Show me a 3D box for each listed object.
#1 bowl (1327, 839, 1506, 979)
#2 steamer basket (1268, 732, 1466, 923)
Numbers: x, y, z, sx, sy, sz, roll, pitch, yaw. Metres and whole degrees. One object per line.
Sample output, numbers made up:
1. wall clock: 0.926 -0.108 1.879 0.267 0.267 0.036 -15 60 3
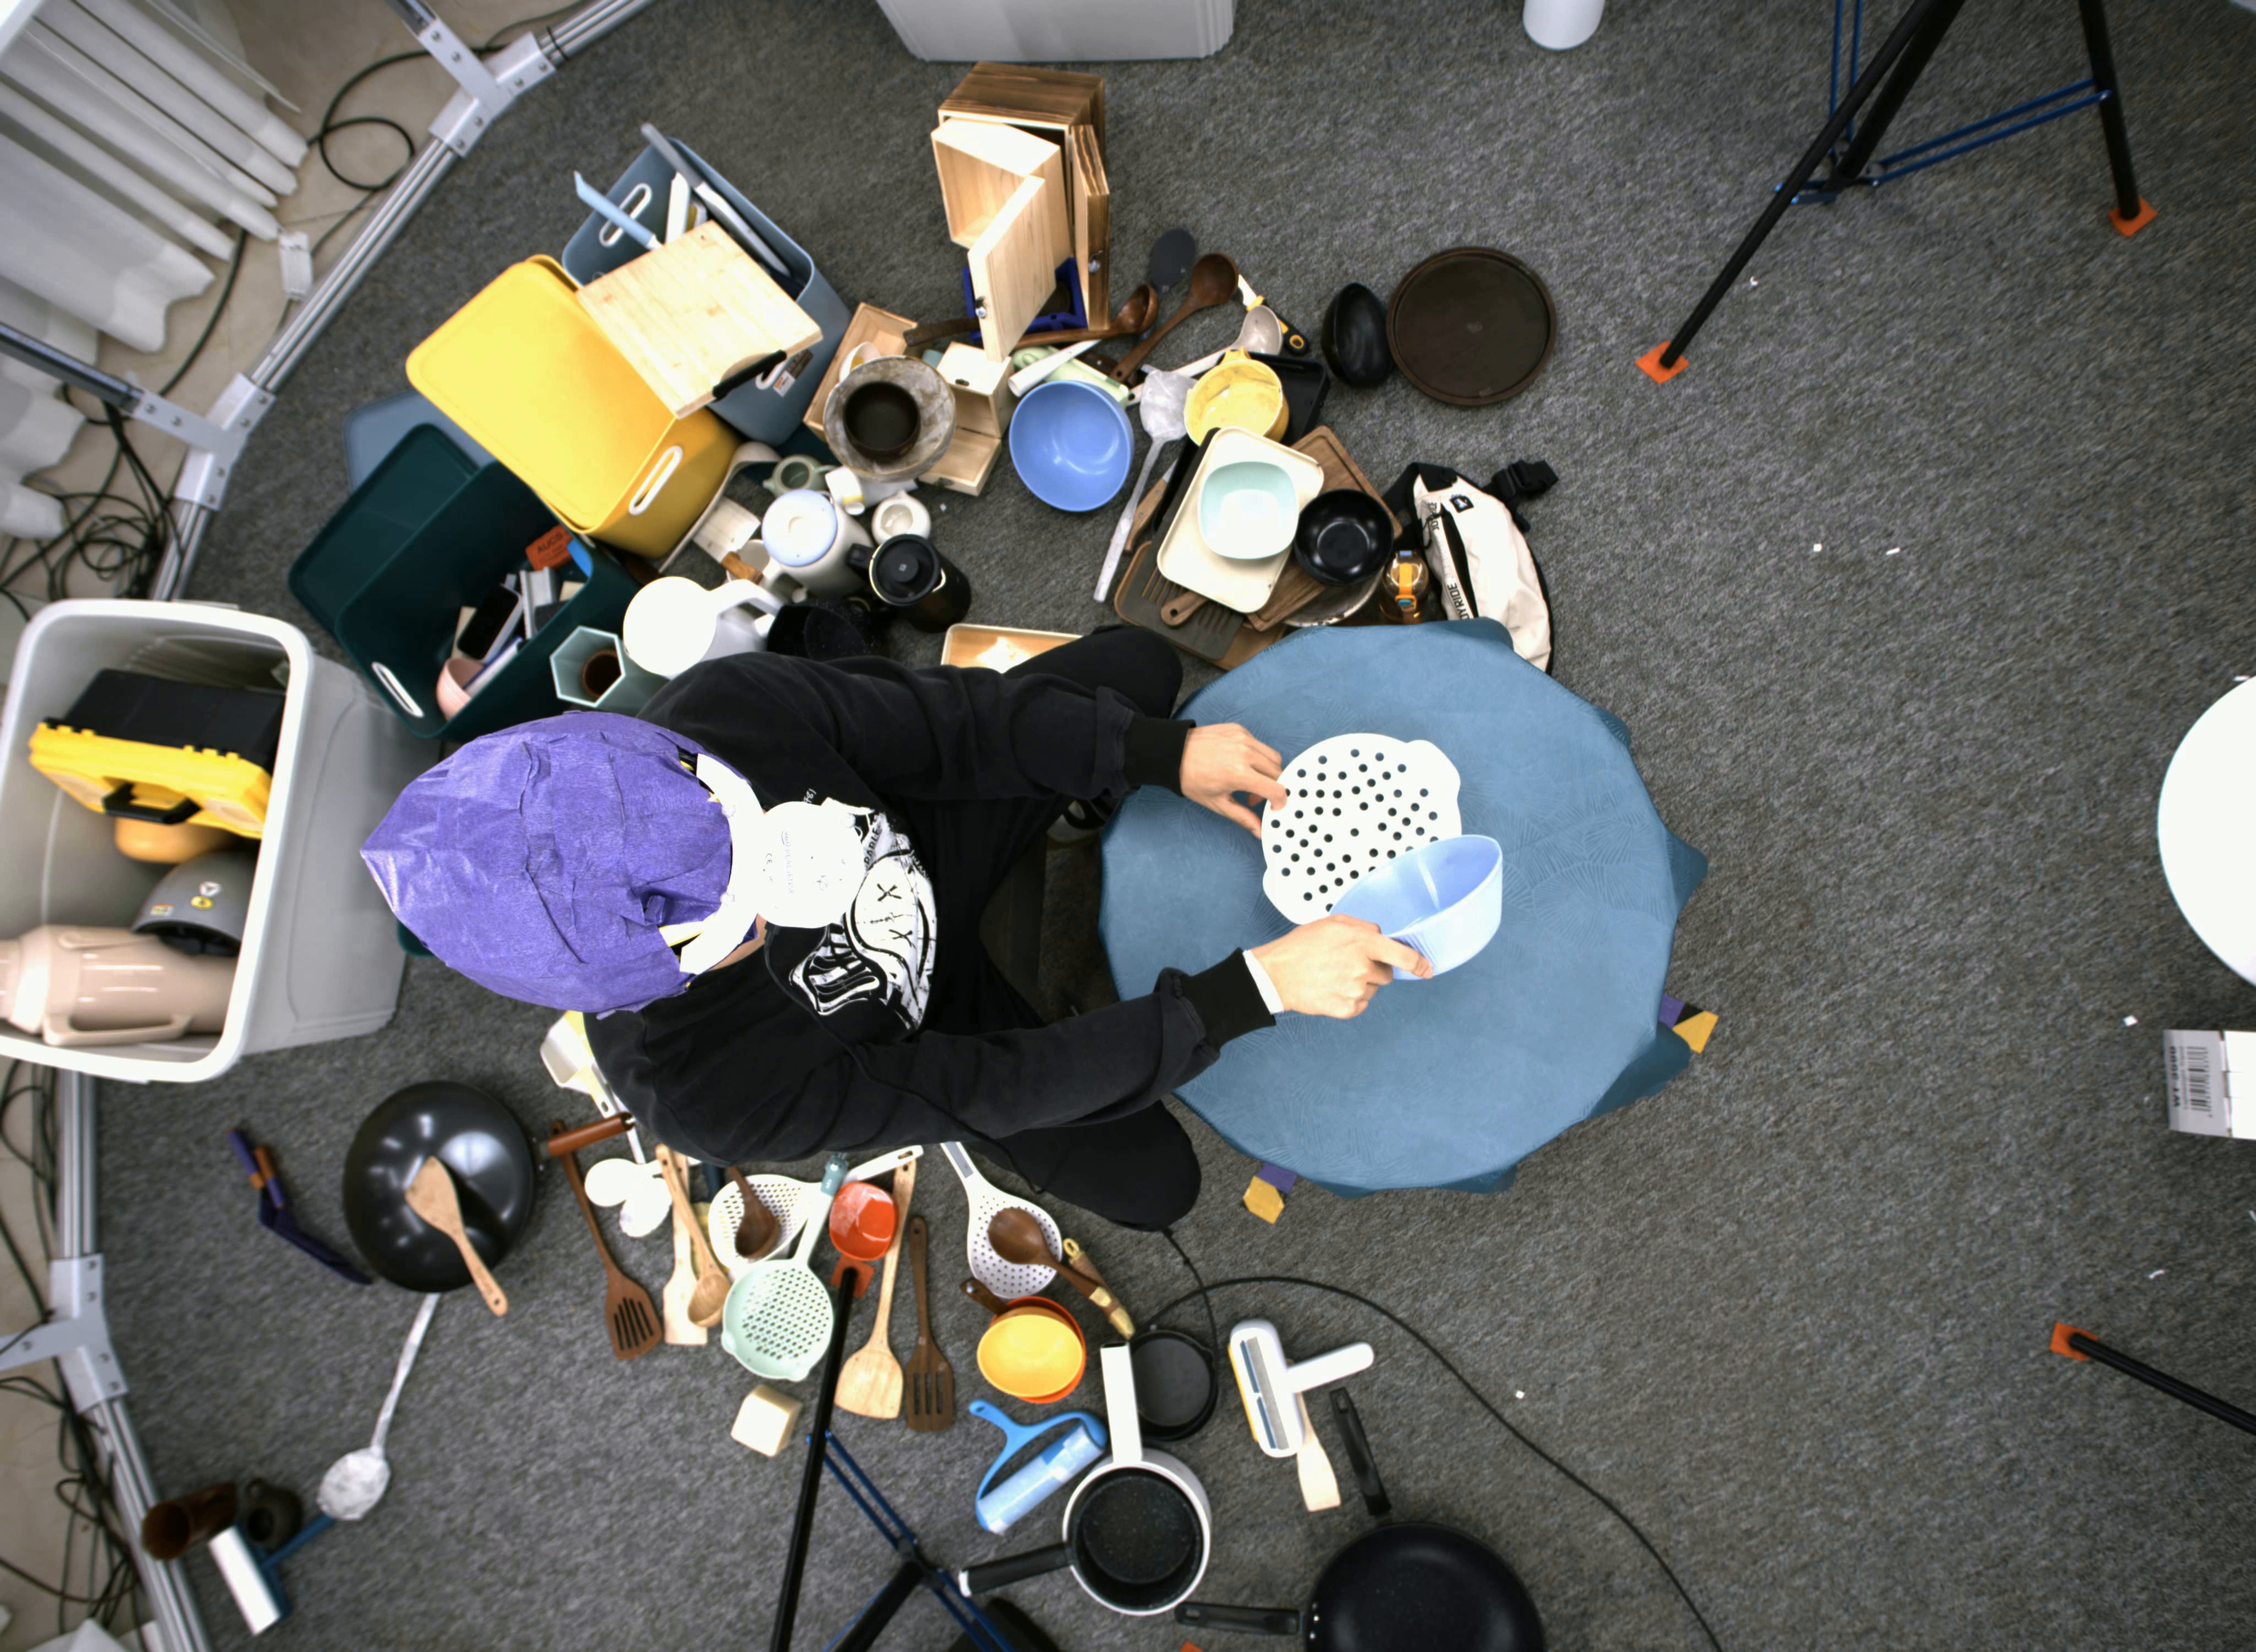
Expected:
1. bowl: 0.278 0.083 1.280 0.177 0.173 0.071 -27 105 6
2. steamer basket: 0.244 0.004 1.430 0.231 0.069 0.202 -43 89 1
